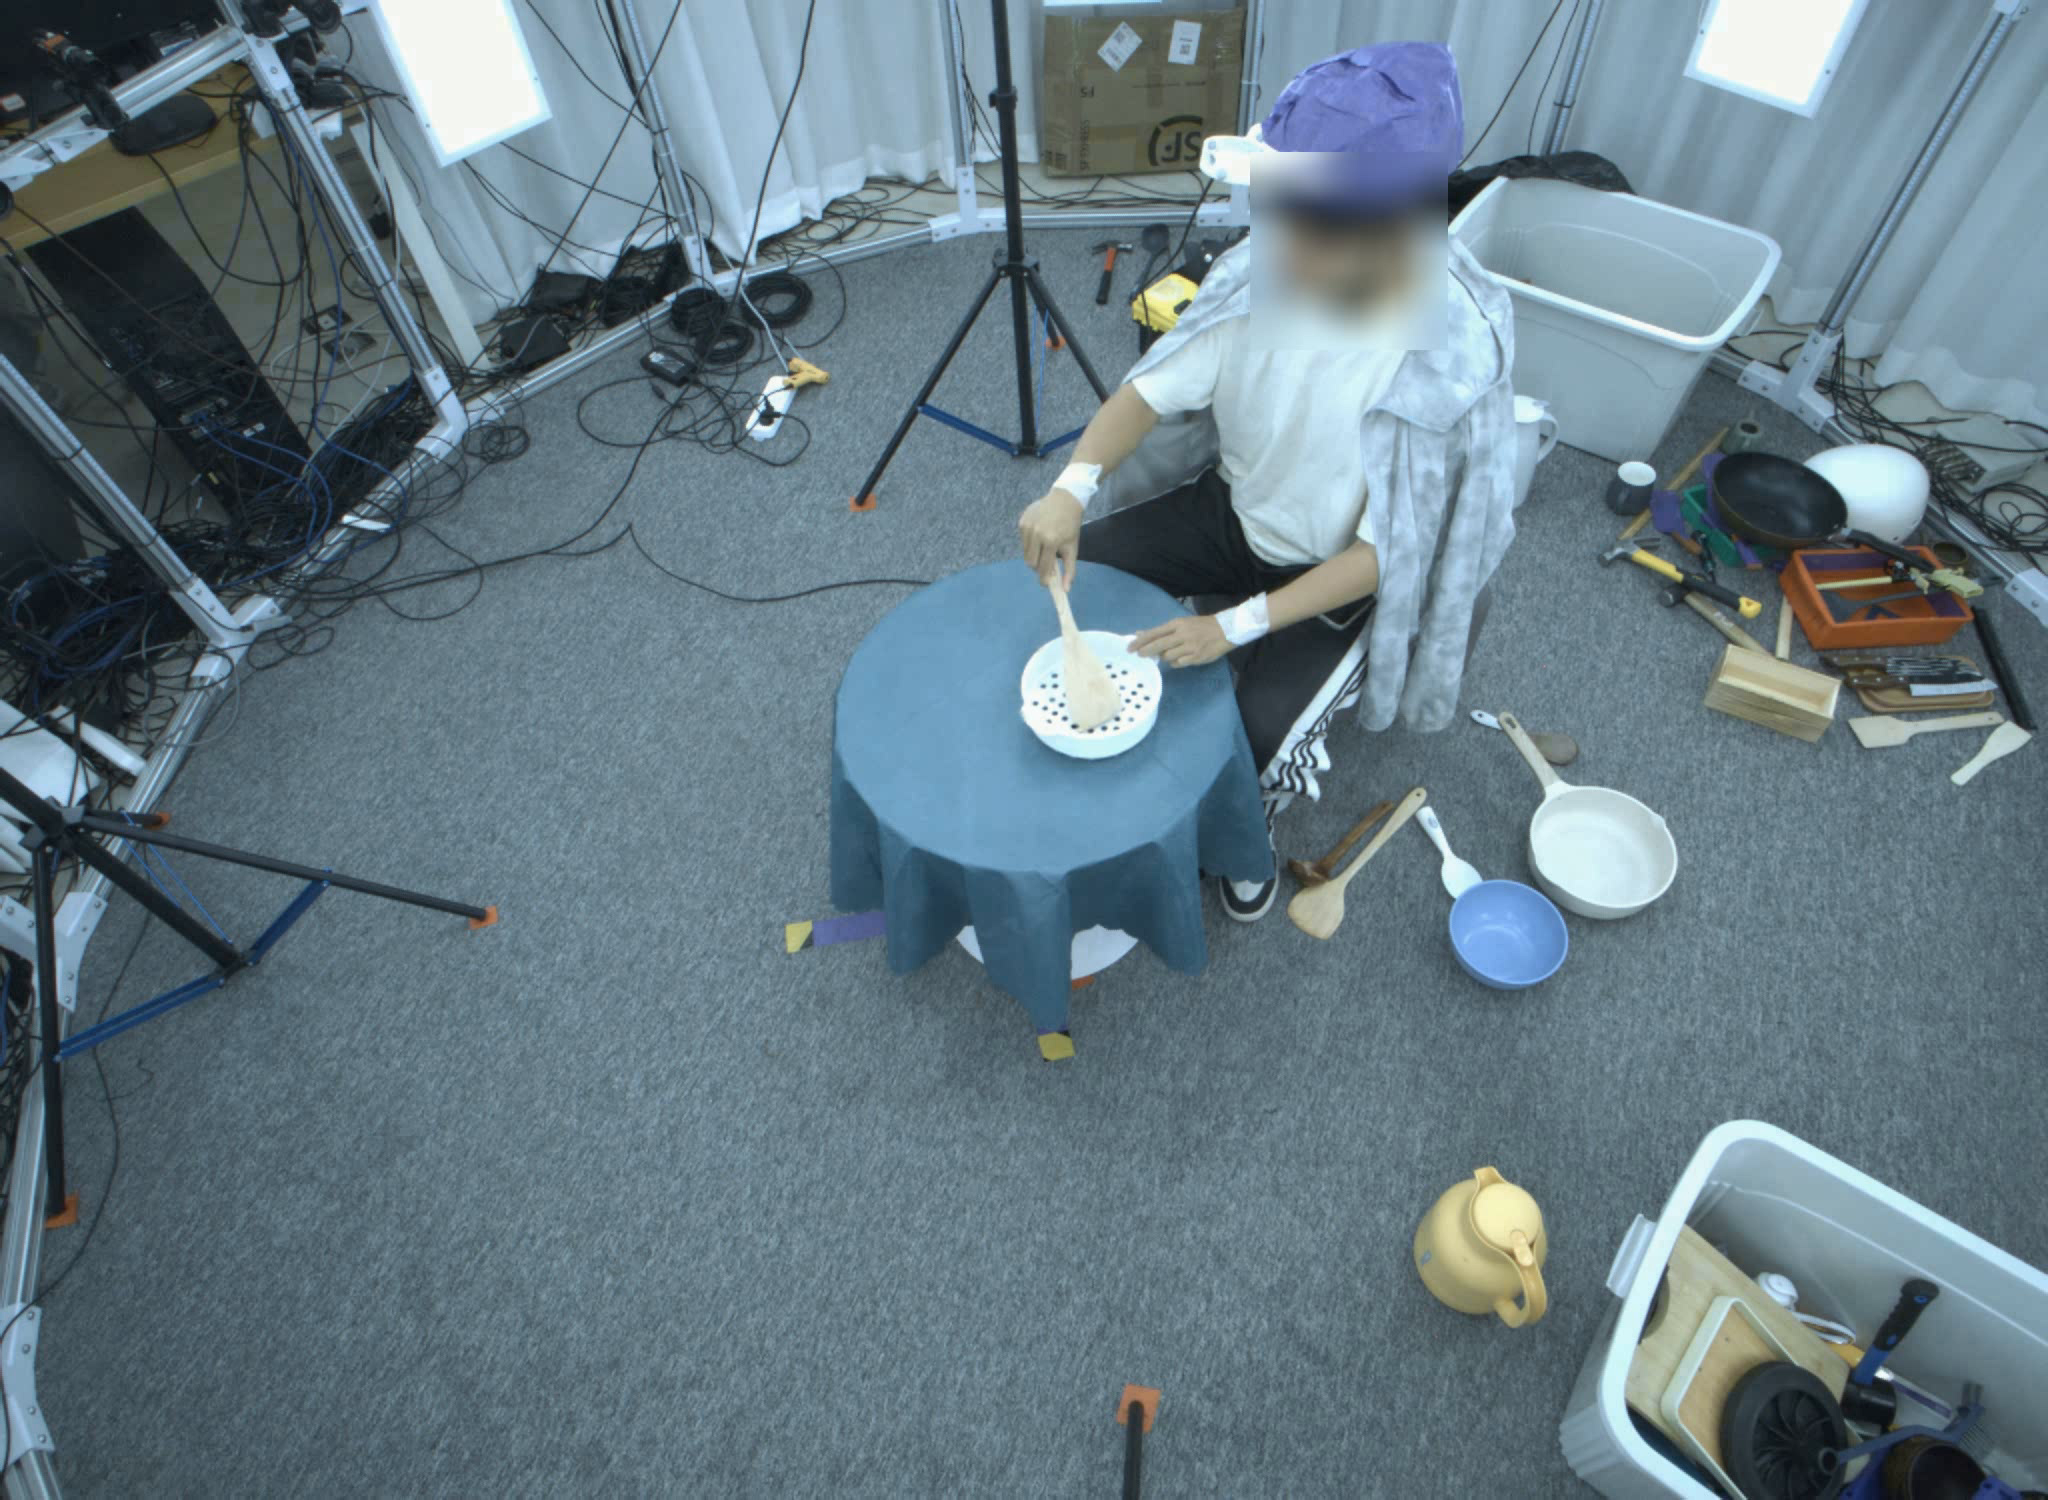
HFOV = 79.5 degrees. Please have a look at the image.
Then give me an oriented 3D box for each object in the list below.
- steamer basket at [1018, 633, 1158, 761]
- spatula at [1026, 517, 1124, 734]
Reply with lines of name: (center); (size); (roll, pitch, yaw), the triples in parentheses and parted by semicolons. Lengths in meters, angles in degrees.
steamer basket: (0.094, -0.076, 1.800); (0.232, 0.070, 0.198); (-35, 62, -21)
spatula: (0.063, -0.188, 1.795); (0.080, 0.016, 0.327); (-18, 89, -6)
